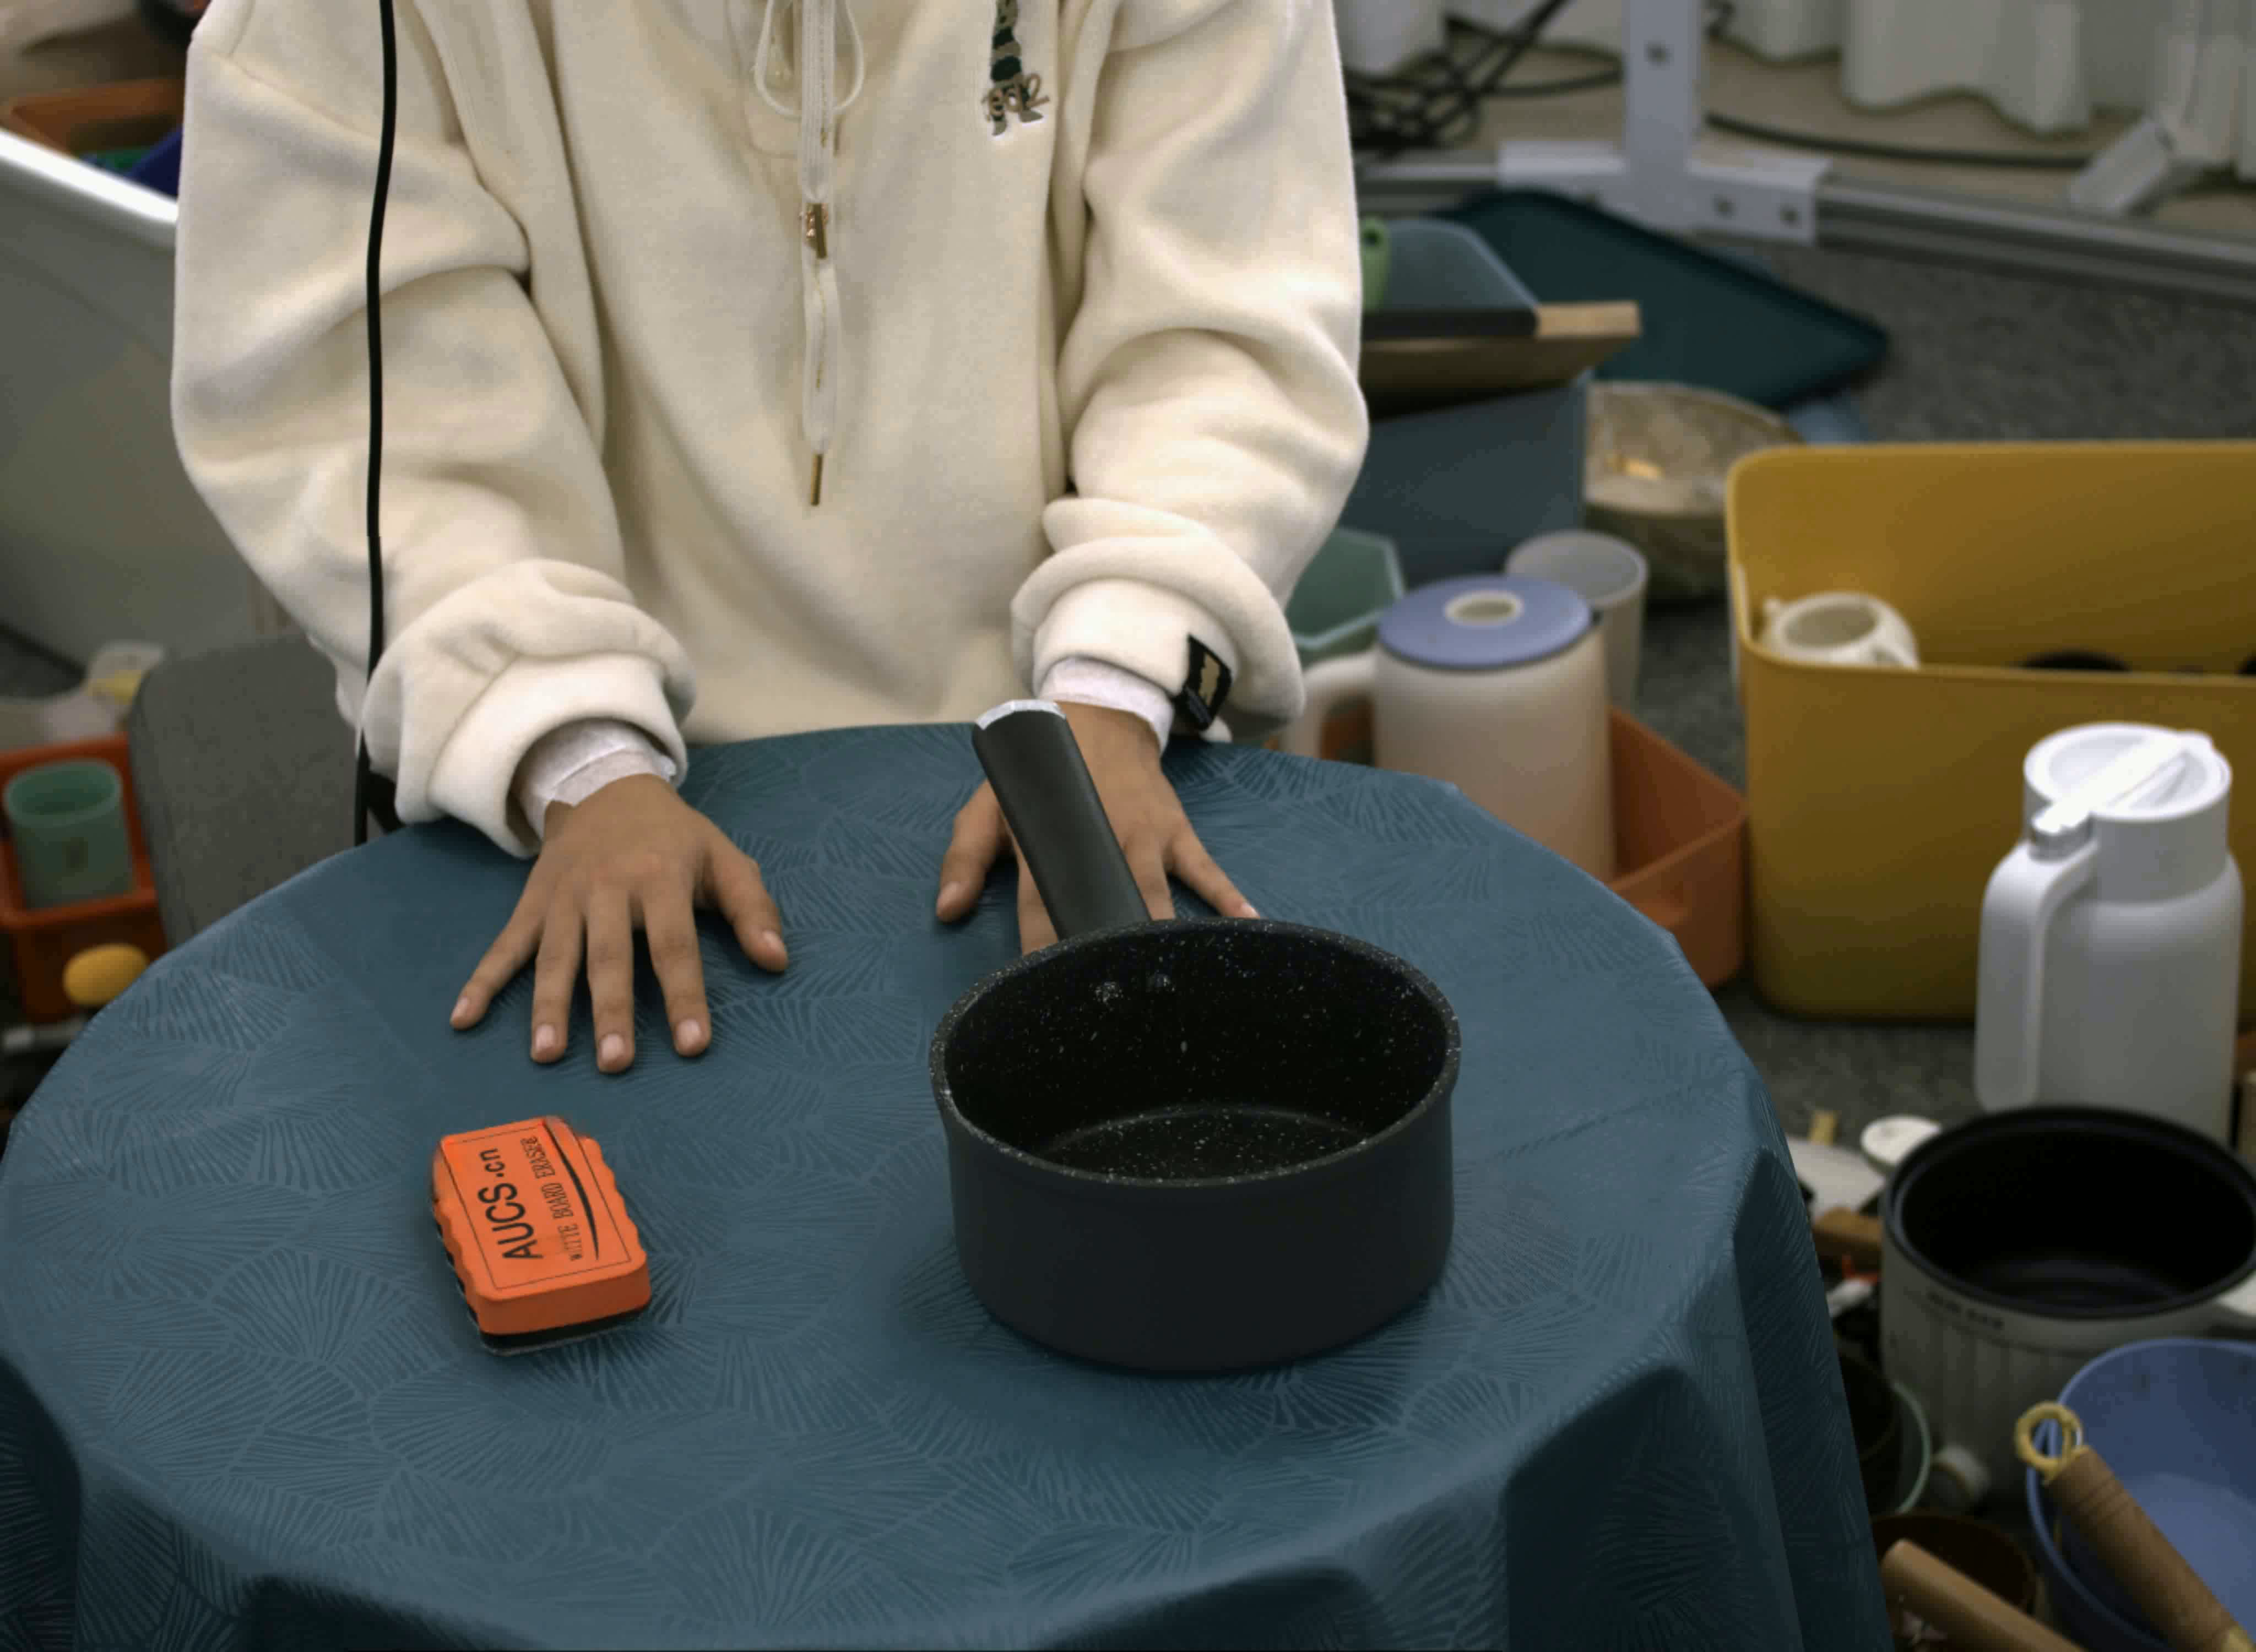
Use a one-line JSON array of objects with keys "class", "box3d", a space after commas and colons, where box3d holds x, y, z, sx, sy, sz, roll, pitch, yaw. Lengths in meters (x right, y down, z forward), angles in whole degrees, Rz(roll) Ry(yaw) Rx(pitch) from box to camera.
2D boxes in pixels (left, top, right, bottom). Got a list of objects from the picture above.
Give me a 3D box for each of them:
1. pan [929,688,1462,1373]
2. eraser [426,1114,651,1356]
[{"class": "pan", "box3d": [0.006, 0.064, 1.881, 0.172, 0.085, 0.332, -7, 29, -10]}, {"class": "eraser", "box3d": [-0.193, 0.133, 1.833, 0.059, 0.022, 0.109, -10, 28, -13]}]
